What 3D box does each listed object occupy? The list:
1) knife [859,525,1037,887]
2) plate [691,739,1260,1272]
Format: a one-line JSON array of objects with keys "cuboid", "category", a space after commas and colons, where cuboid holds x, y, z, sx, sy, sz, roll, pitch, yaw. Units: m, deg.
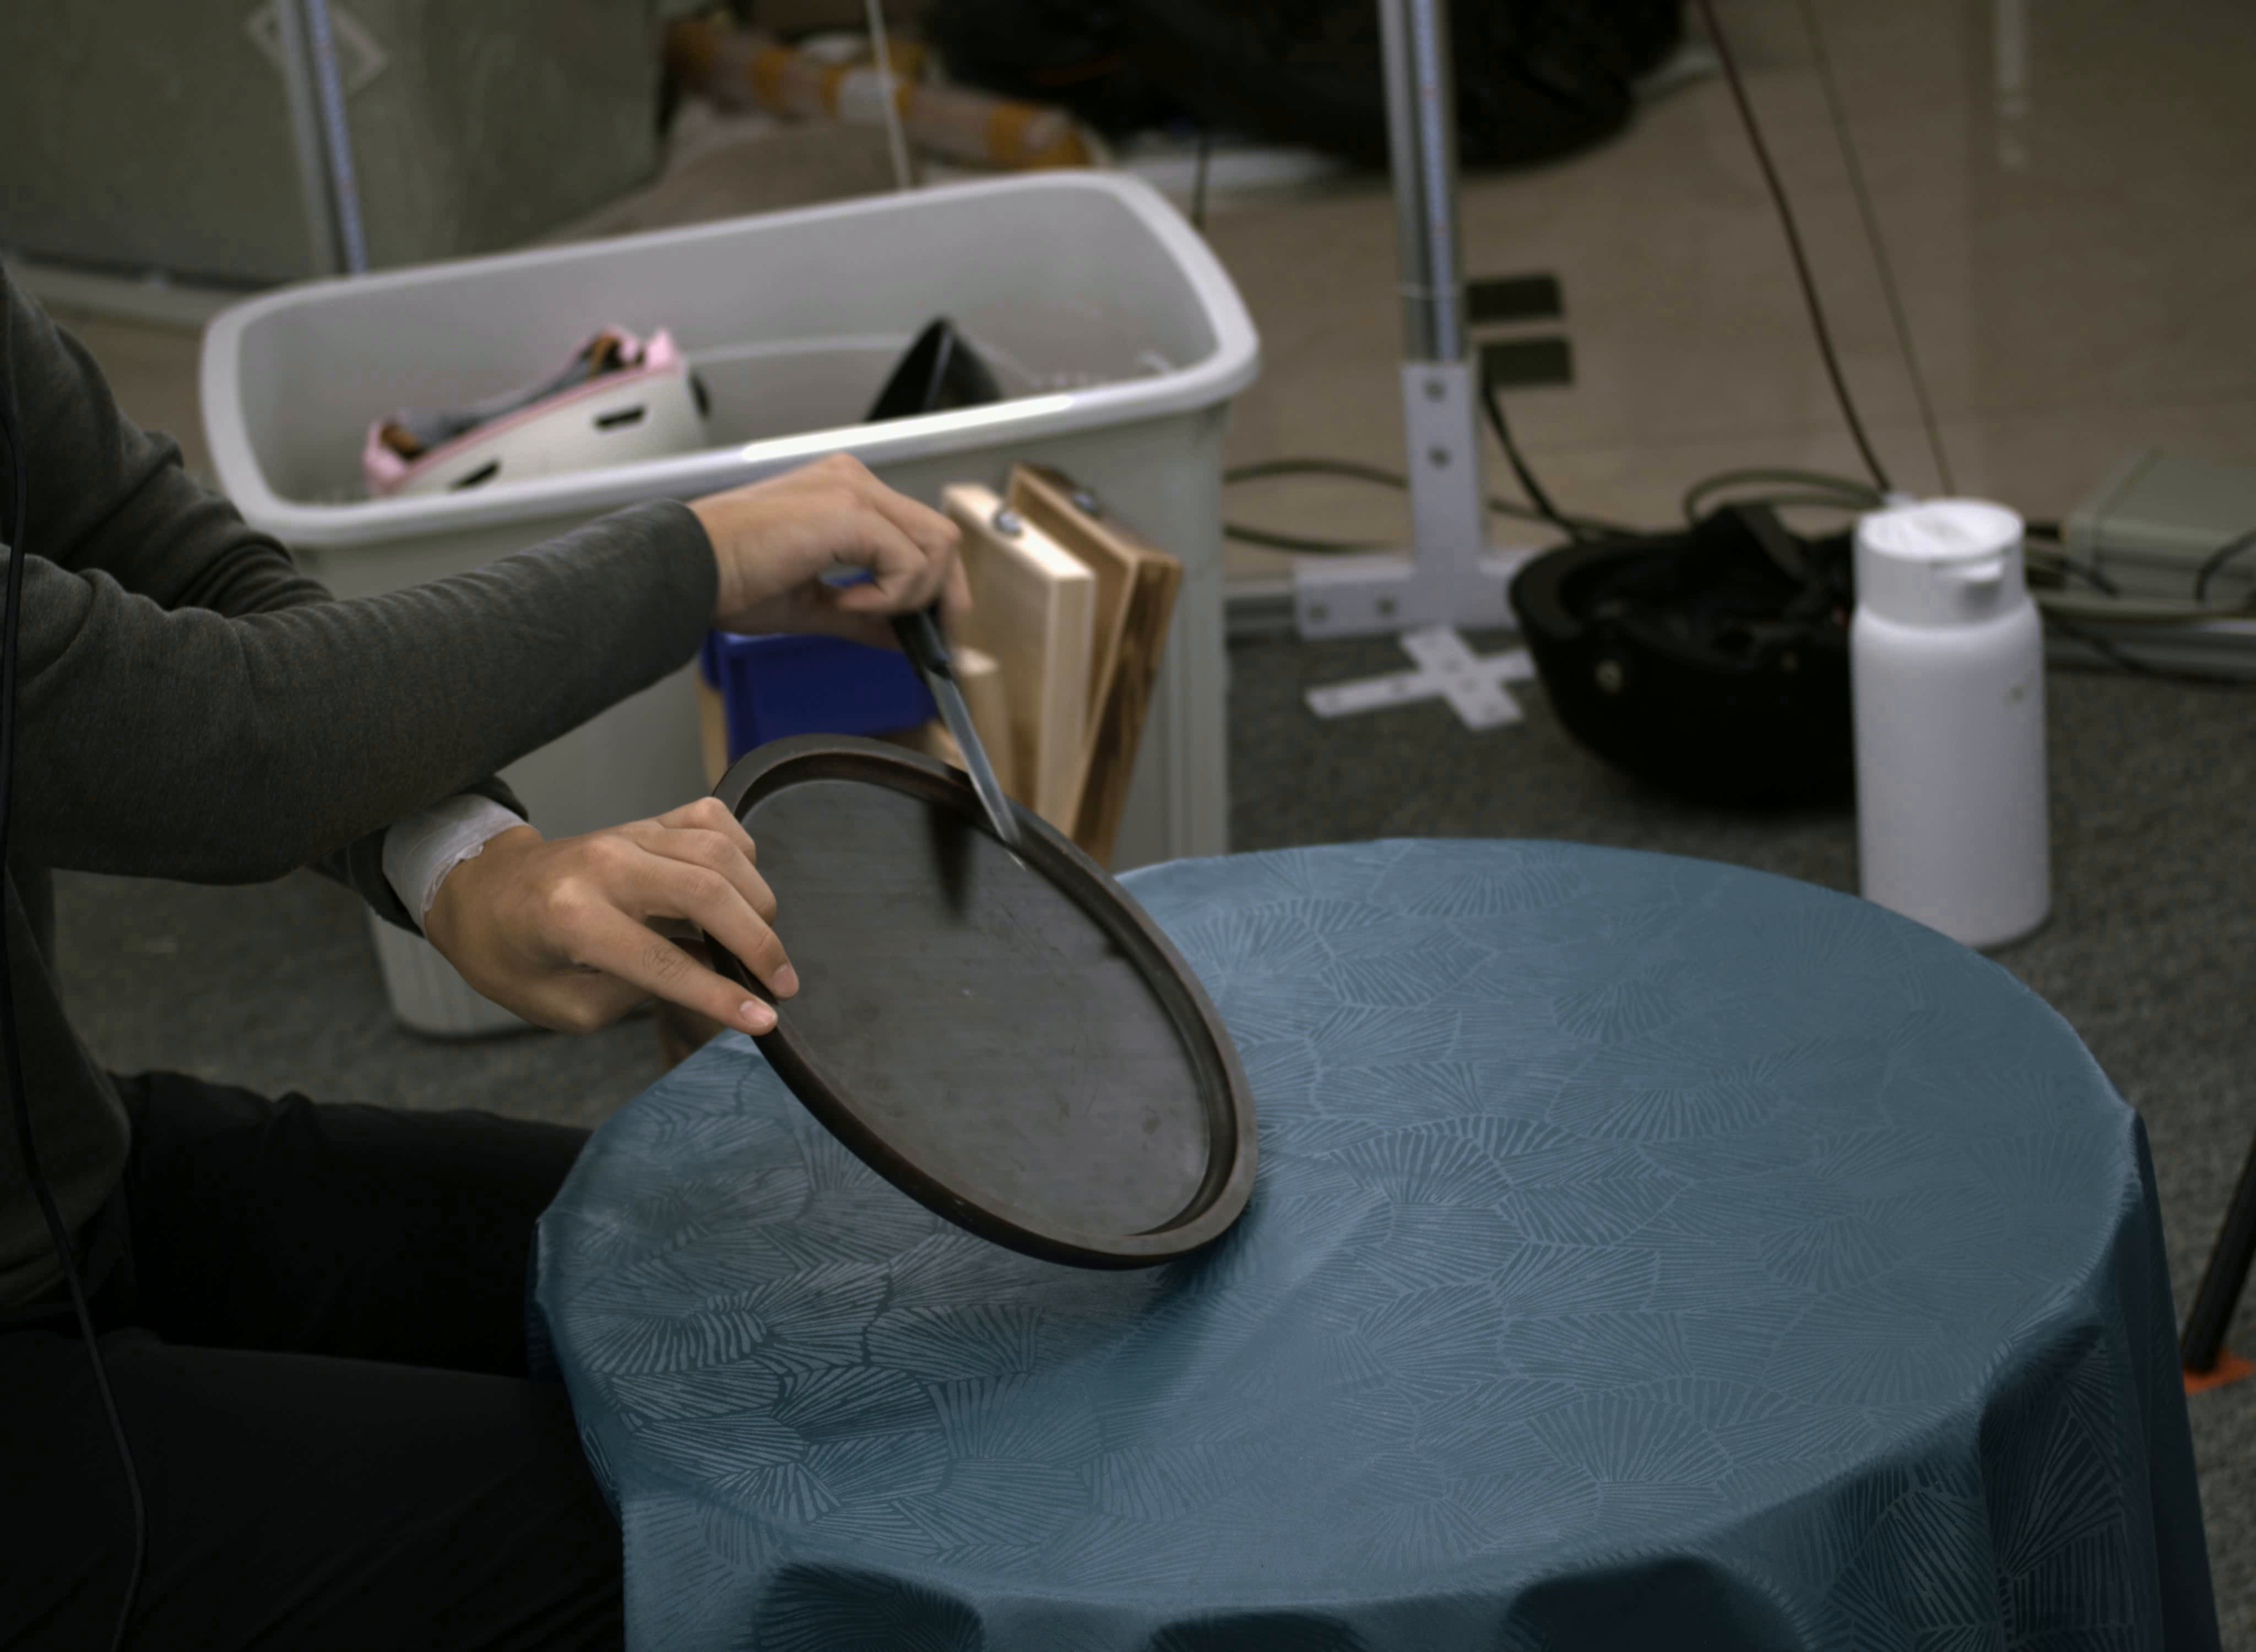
[{"cuboid": [-0.071, -0.050, 2.238, 0.016, 0.025, 0.234, -36, 41, 10], "category": "knife"}, {"cuboid": [-0.057, 0.067, 2.113, 0.256, 0.029, 0.250, 31, 30, -21], "category": "plate"}]
